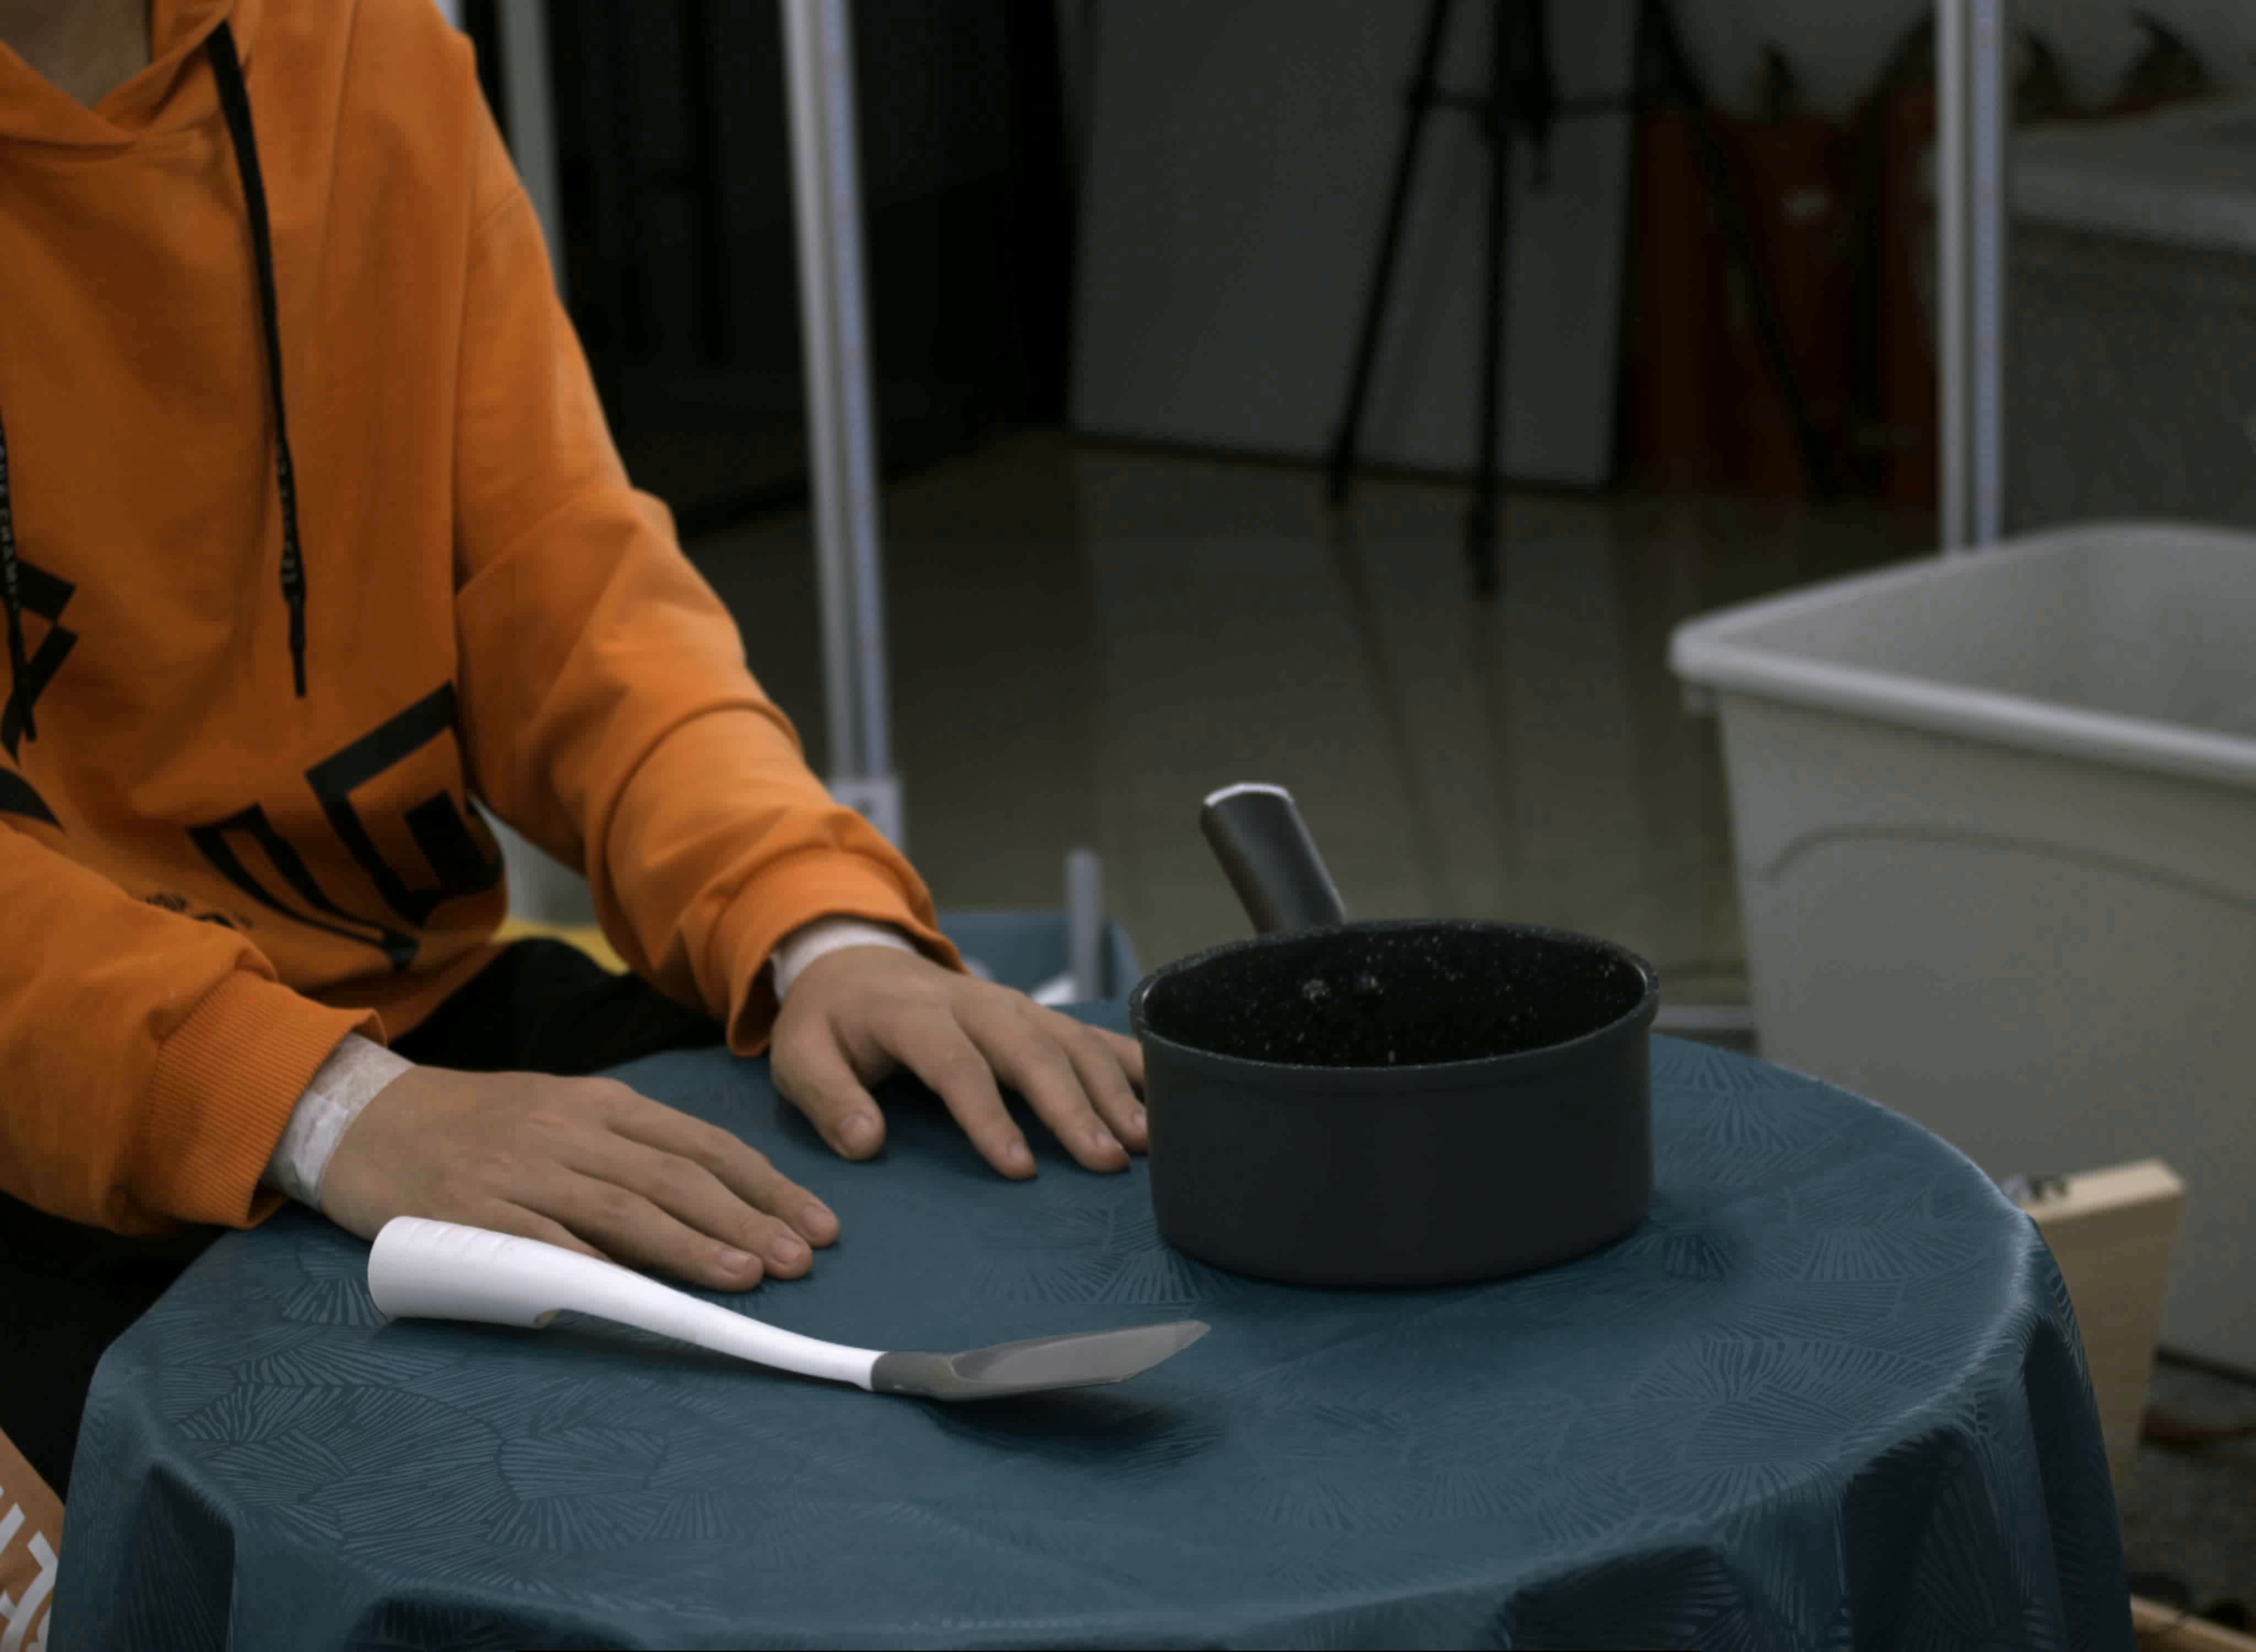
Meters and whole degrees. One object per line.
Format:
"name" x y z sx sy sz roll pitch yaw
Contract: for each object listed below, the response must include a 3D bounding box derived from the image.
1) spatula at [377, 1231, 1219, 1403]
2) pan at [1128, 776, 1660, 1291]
"spatula" -0.103 0.150 1.617 0.289 0.032 0.057 4 11 32
"pan" 0.075 0.065 1.796 0.169 0.087 0.330 -5 15 -6
